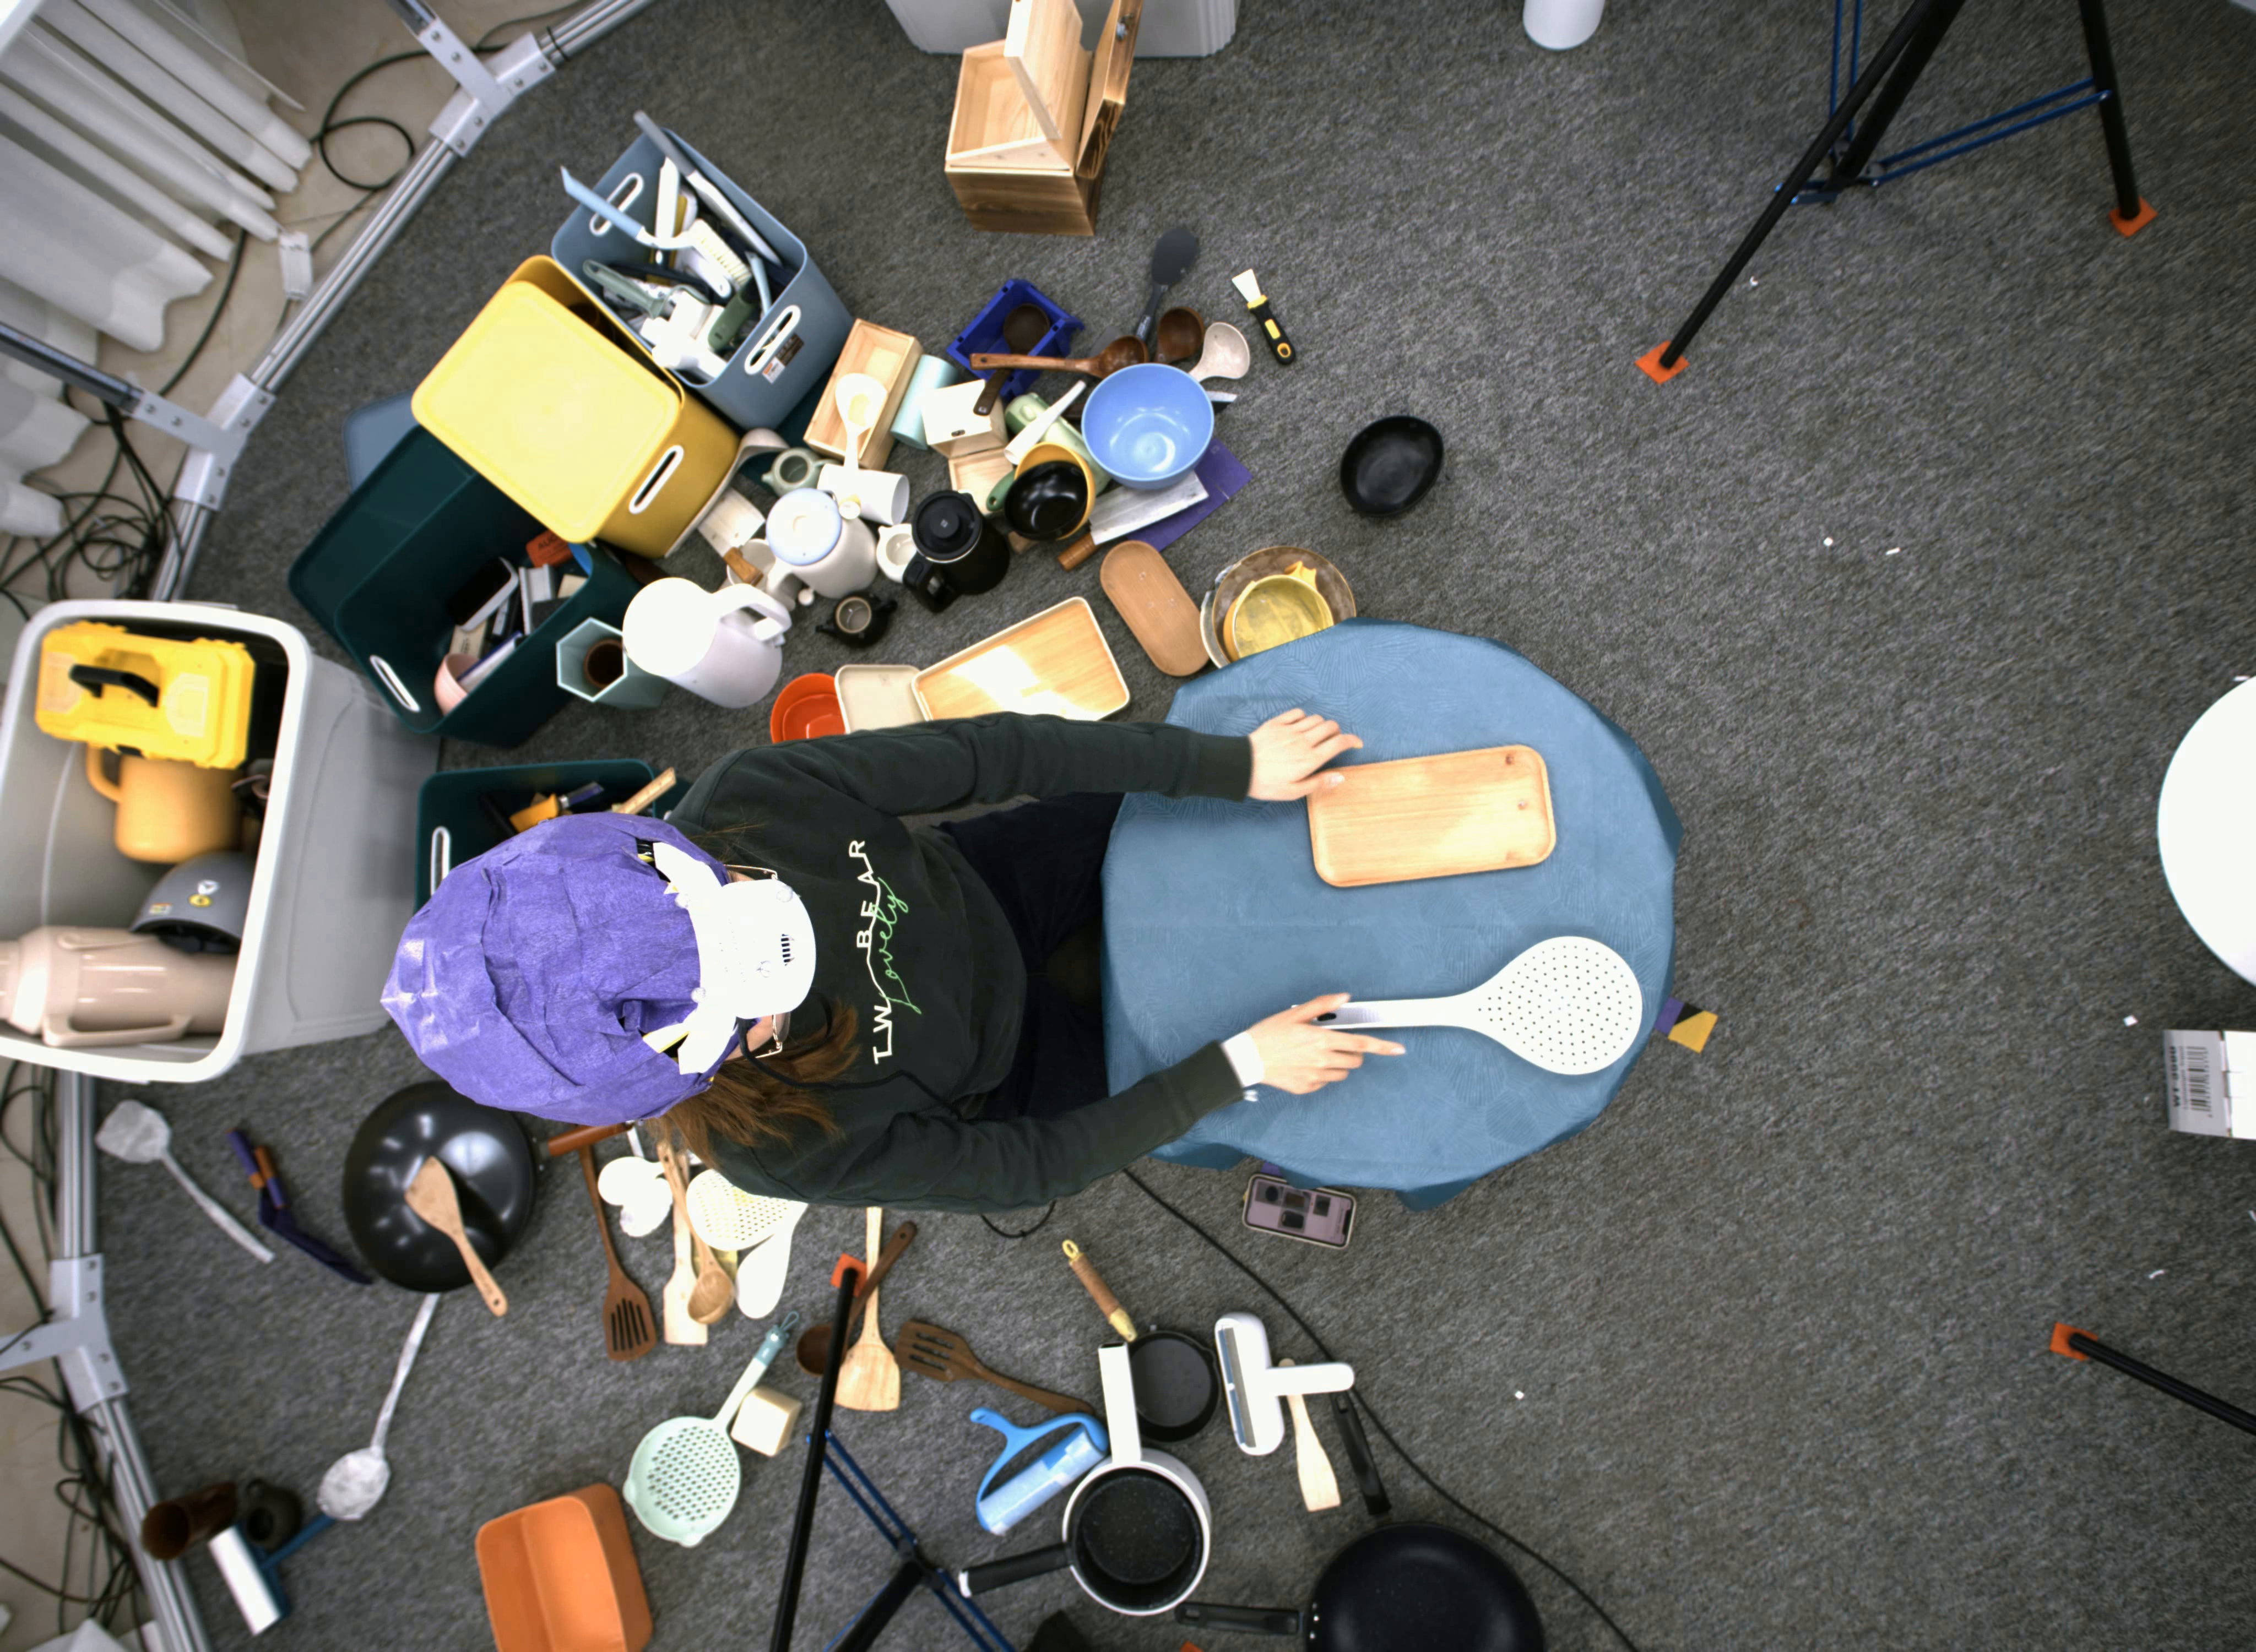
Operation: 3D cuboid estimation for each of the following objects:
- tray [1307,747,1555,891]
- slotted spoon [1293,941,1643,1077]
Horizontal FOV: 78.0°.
[{"bbox_3d":[0.318,-0.008,1.453,0.252,0.023,0.129,-7,83,11],"label":"tray"},{"bbox_3d":[0.345,0.190,1.420,0.351,0.046,0.135,-4,83,11],"label":"slotted spoon"}]
